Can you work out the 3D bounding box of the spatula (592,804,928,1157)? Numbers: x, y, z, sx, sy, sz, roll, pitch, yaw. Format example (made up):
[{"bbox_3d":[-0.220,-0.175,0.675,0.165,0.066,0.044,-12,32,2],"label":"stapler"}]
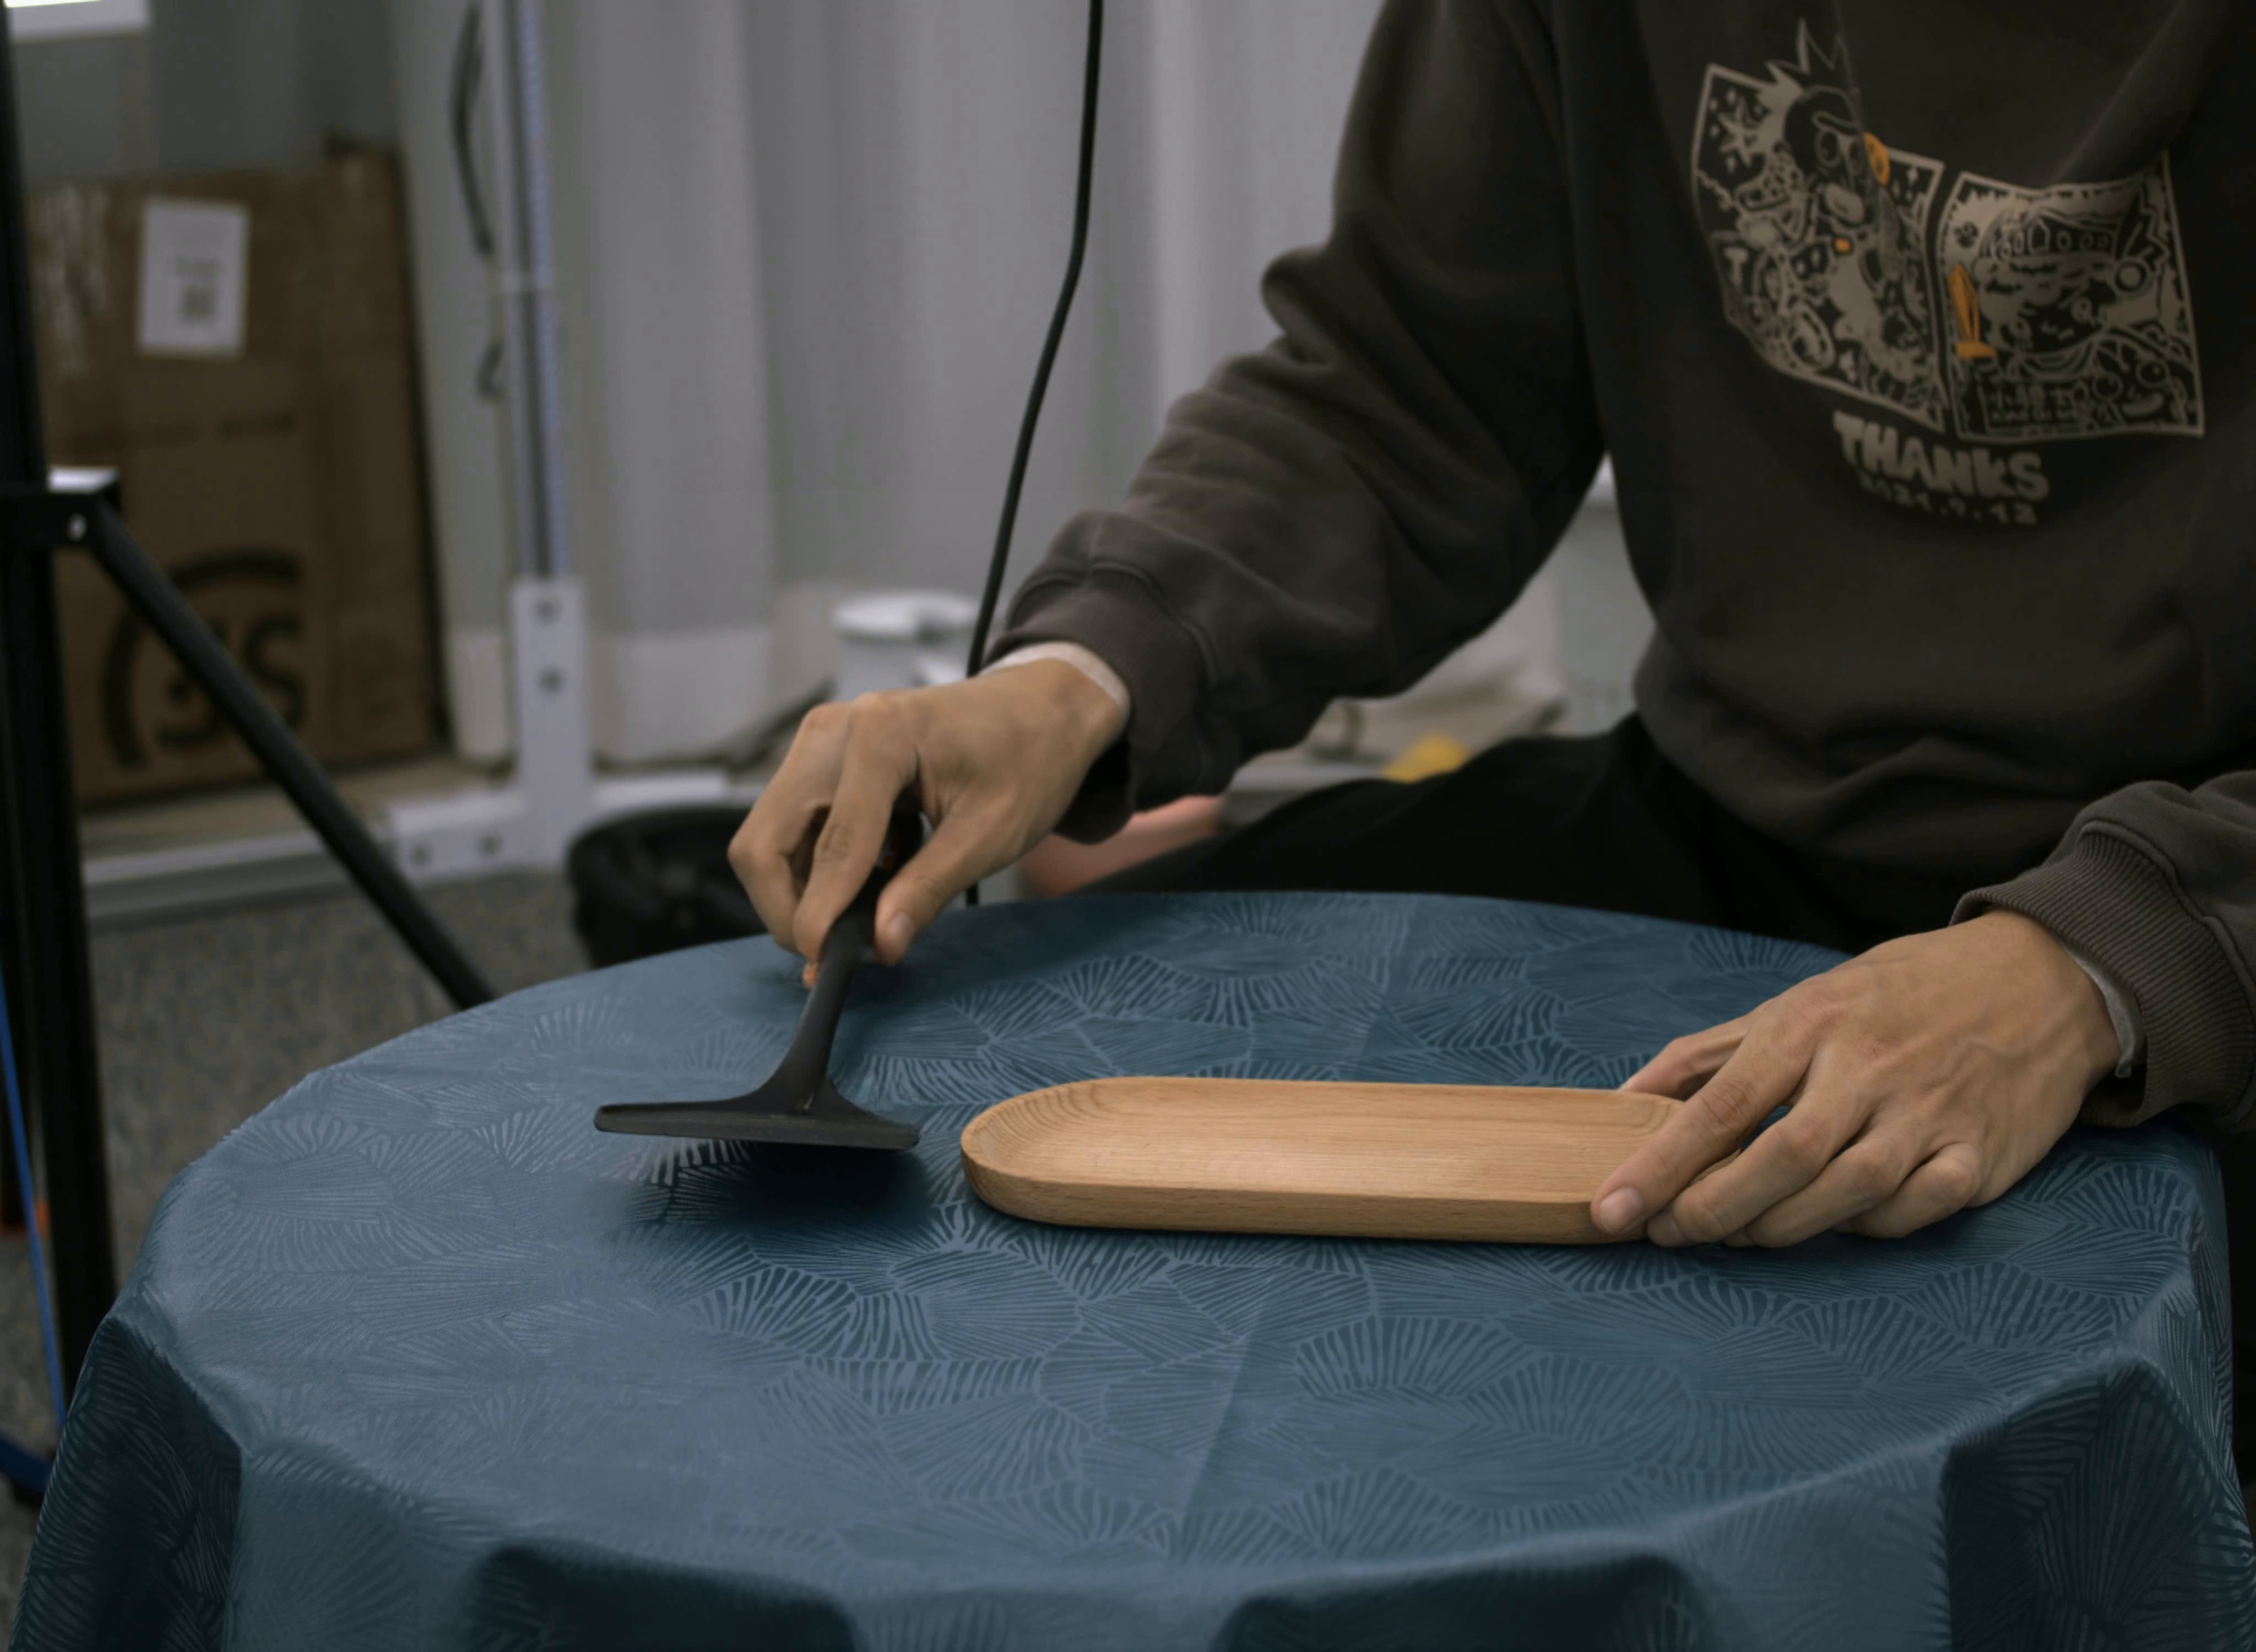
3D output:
[{"bbox_3d":[-0.095,0.045,1.699,0.100,0.040,0.326,3,23,5],"label":"spatula"}]

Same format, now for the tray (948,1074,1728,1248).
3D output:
[{"bbox_3d":[0.061,0.098,1.556,0.233,0.020,0.101,0,15,15],"label":"tray"}]
